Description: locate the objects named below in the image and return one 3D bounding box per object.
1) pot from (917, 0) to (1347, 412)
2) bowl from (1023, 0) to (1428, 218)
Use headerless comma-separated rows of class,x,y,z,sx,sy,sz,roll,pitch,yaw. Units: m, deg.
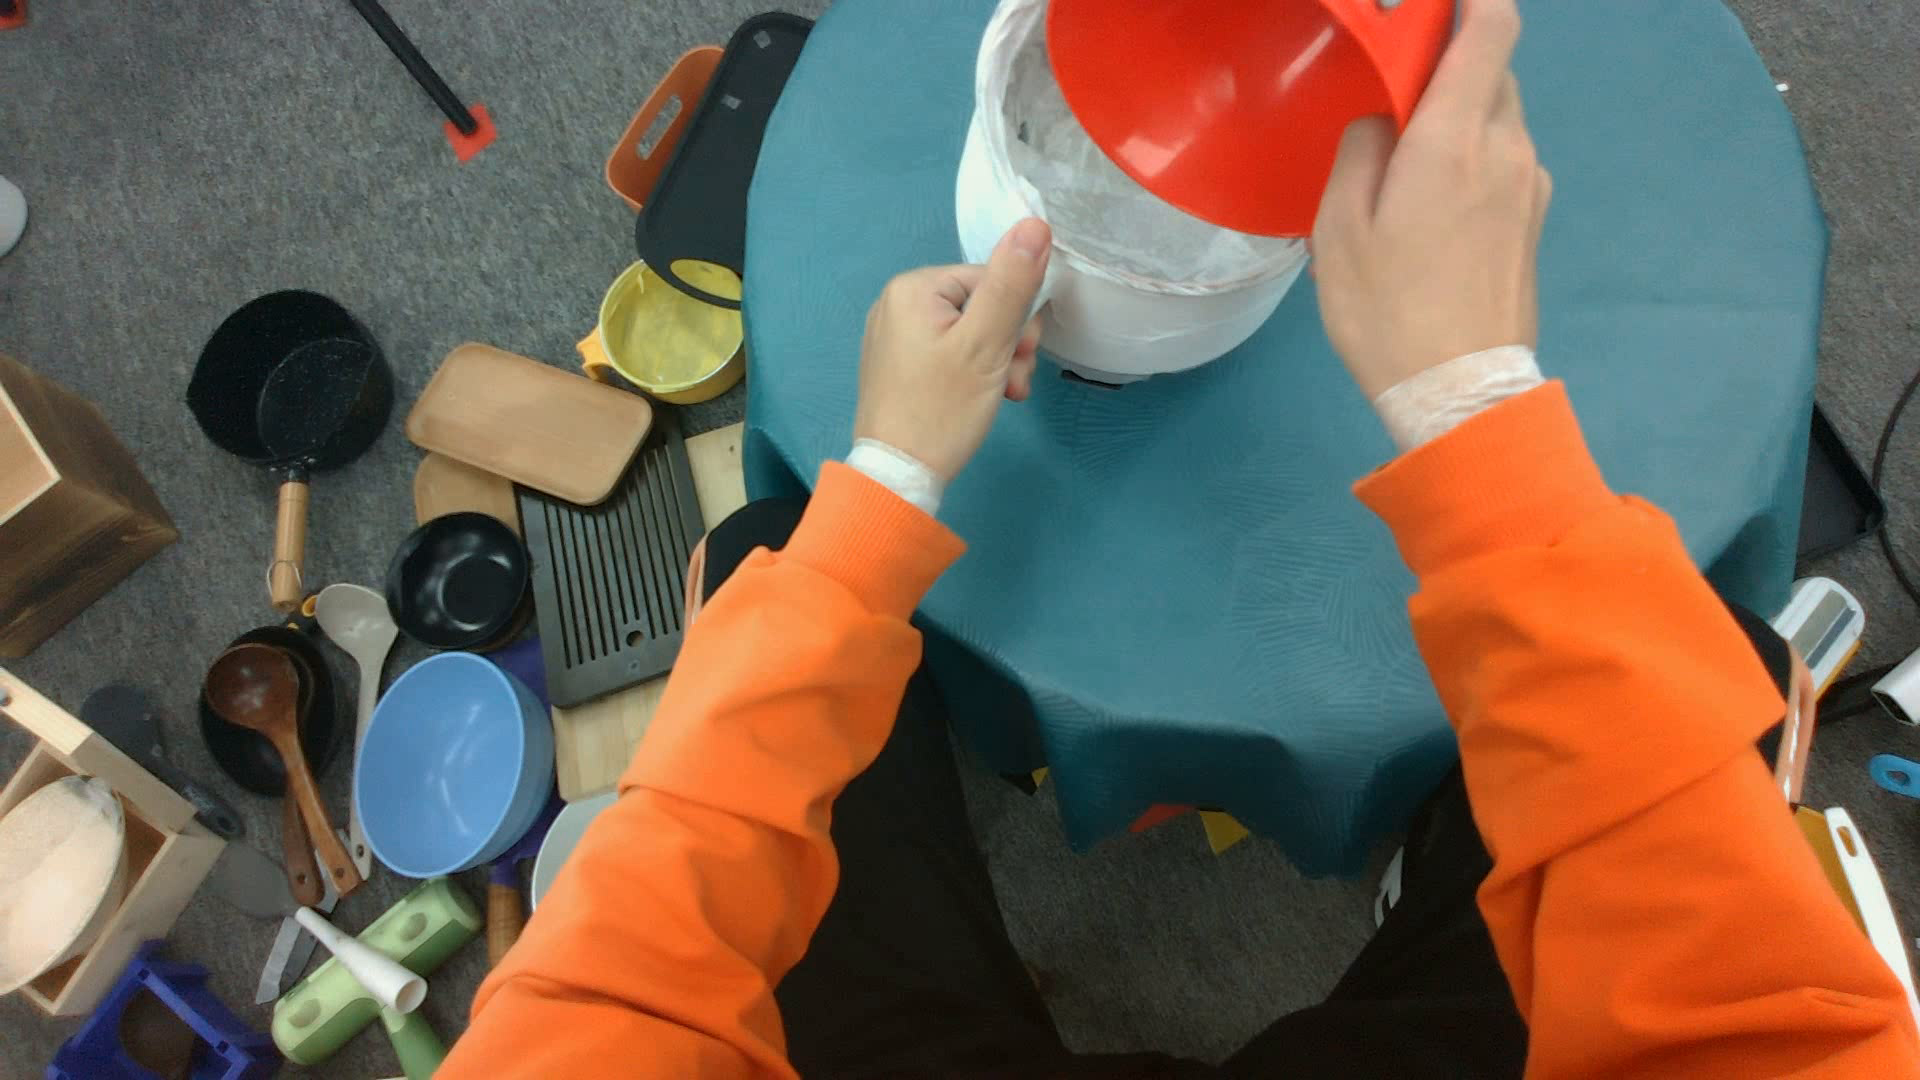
pot,0.069,-0.162,0.656,0.179,0.136,0.234,39,76,5
bowl,0.114,-0.205,0.538,0.148,0.147,0.105,36,78,15
